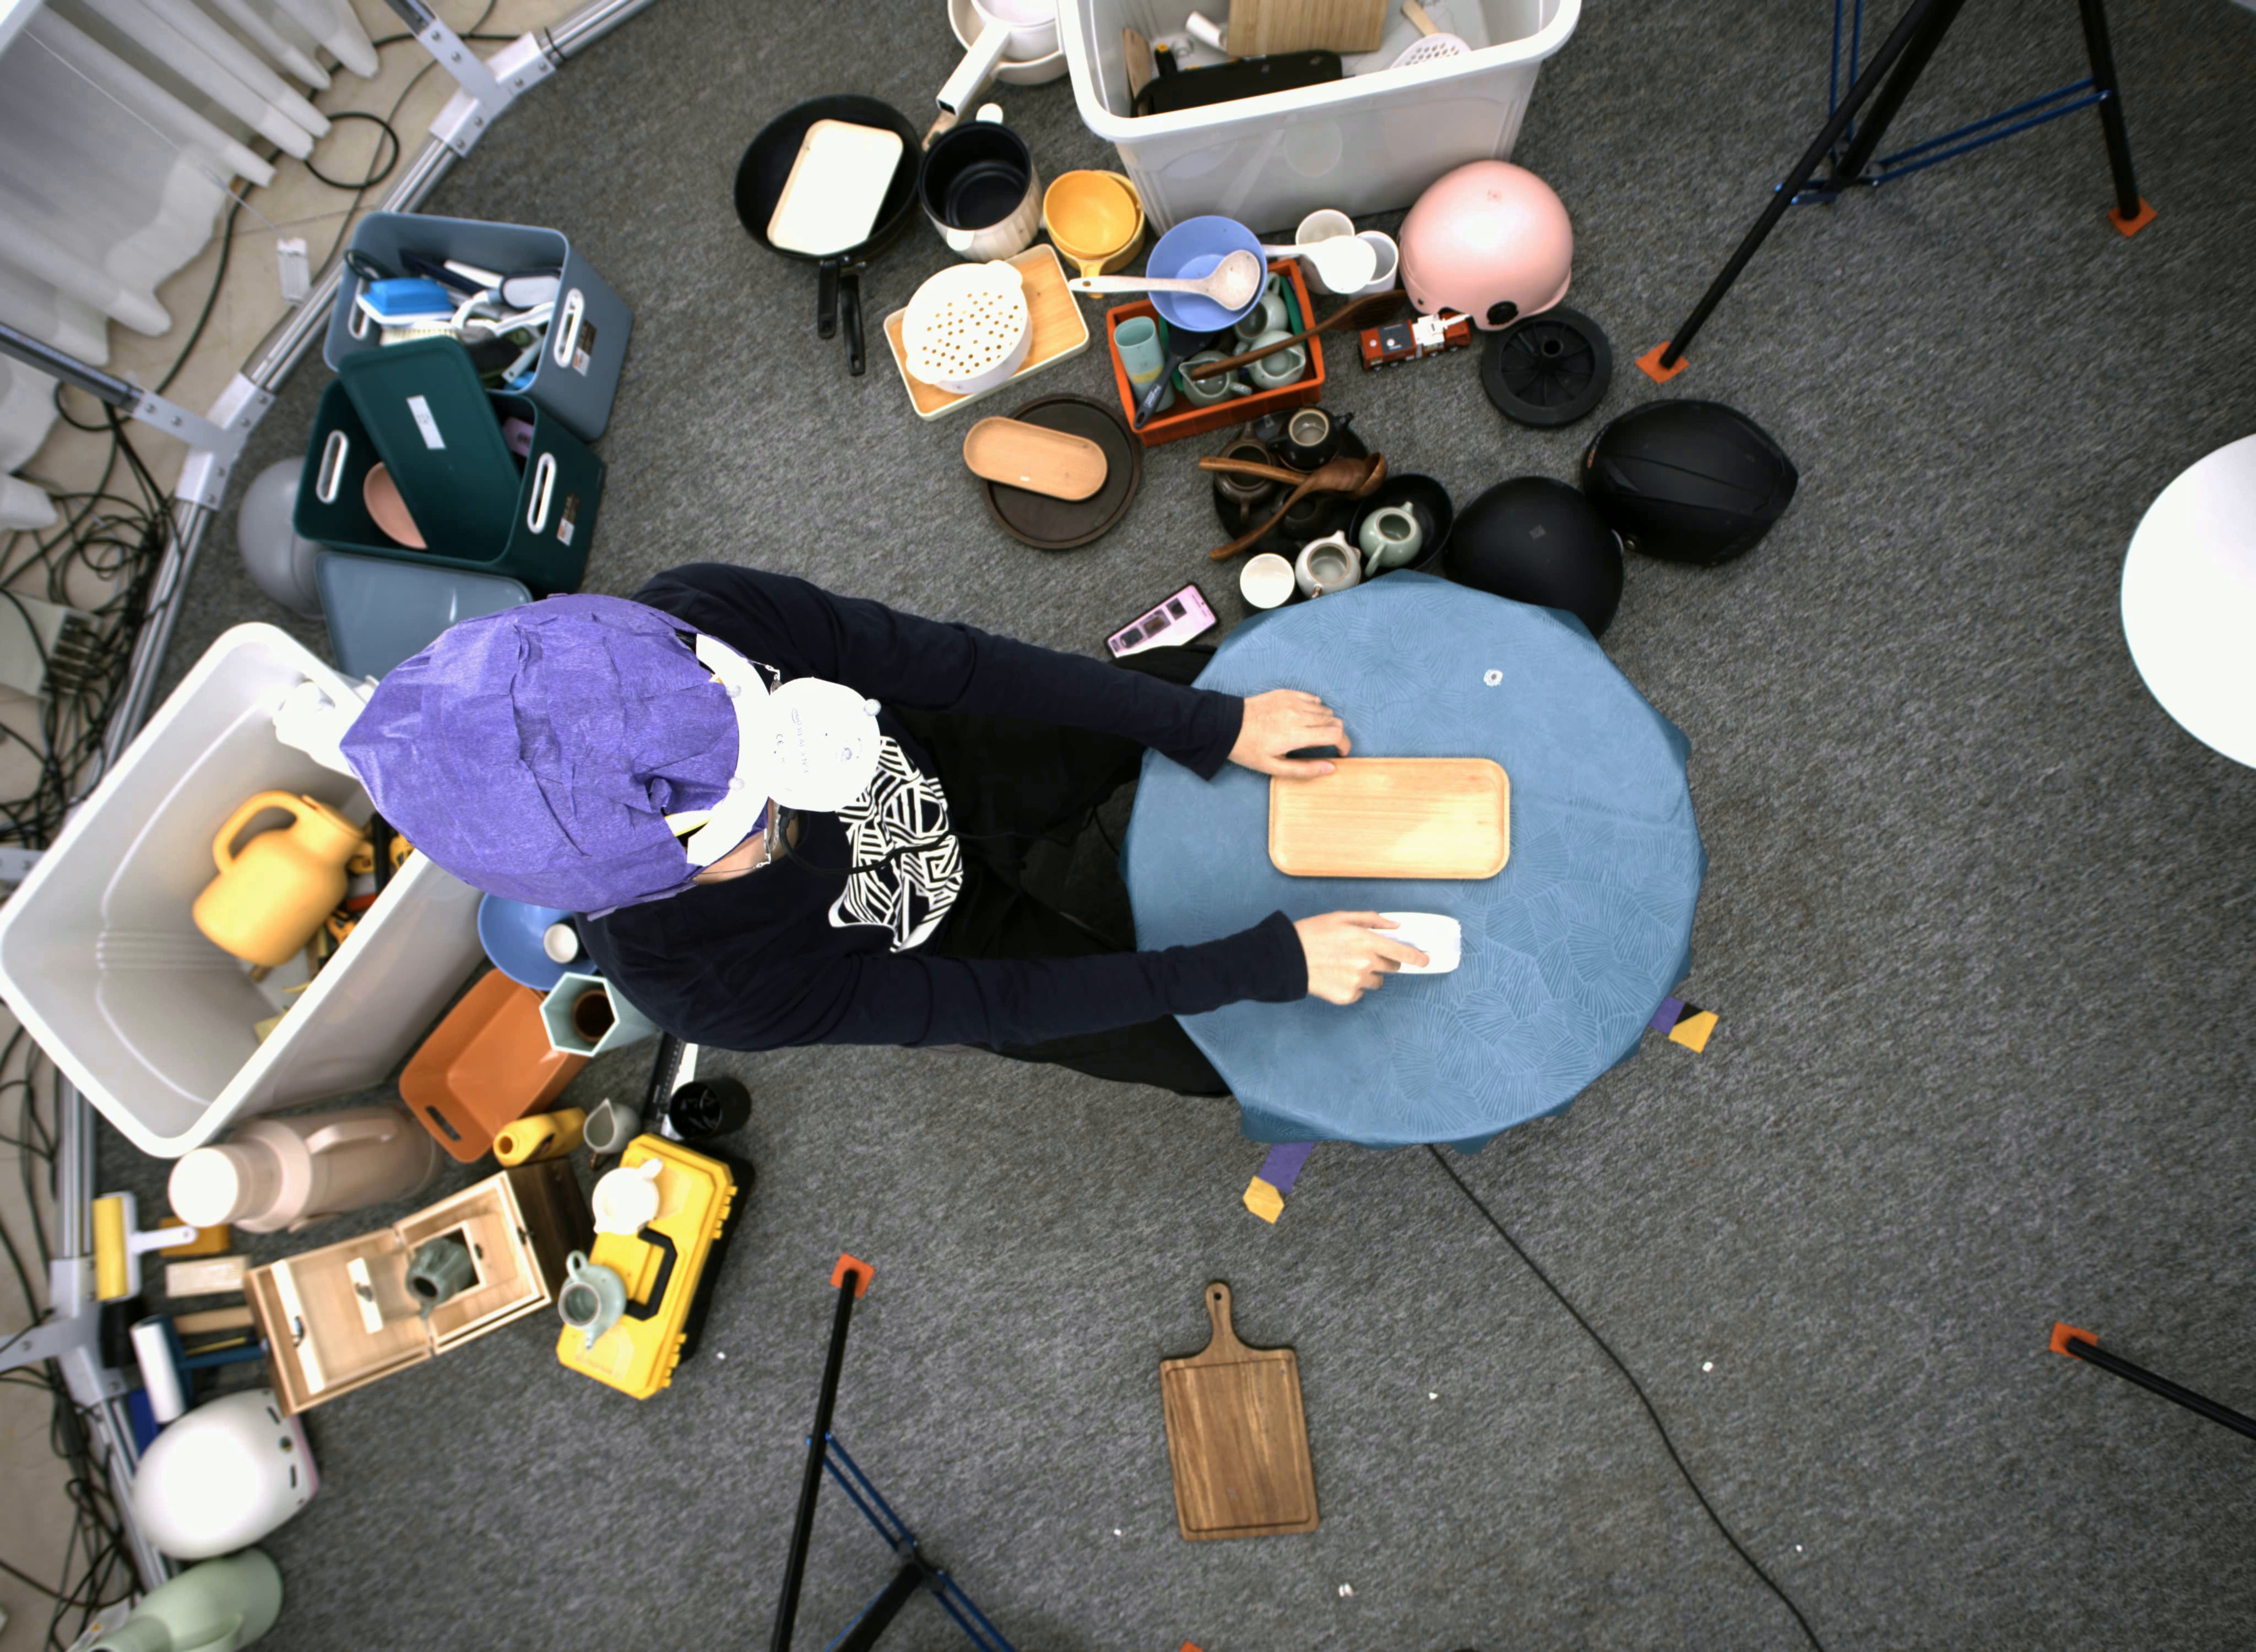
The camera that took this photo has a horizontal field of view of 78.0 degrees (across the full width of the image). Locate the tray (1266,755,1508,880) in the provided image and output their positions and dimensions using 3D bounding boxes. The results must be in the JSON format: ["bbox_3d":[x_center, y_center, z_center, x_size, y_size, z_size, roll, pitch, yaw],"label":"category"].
[{"bbox_3d":[0.272,-0.011,1.454,0.251,0.023,0.130,2,85,12],"label":"tray"}]

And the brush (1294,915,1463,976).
[{"bbox_3d":[0.254,0.118,1.413,0.176,0.094,0.061,2,86,13],"label":"brush"}]
